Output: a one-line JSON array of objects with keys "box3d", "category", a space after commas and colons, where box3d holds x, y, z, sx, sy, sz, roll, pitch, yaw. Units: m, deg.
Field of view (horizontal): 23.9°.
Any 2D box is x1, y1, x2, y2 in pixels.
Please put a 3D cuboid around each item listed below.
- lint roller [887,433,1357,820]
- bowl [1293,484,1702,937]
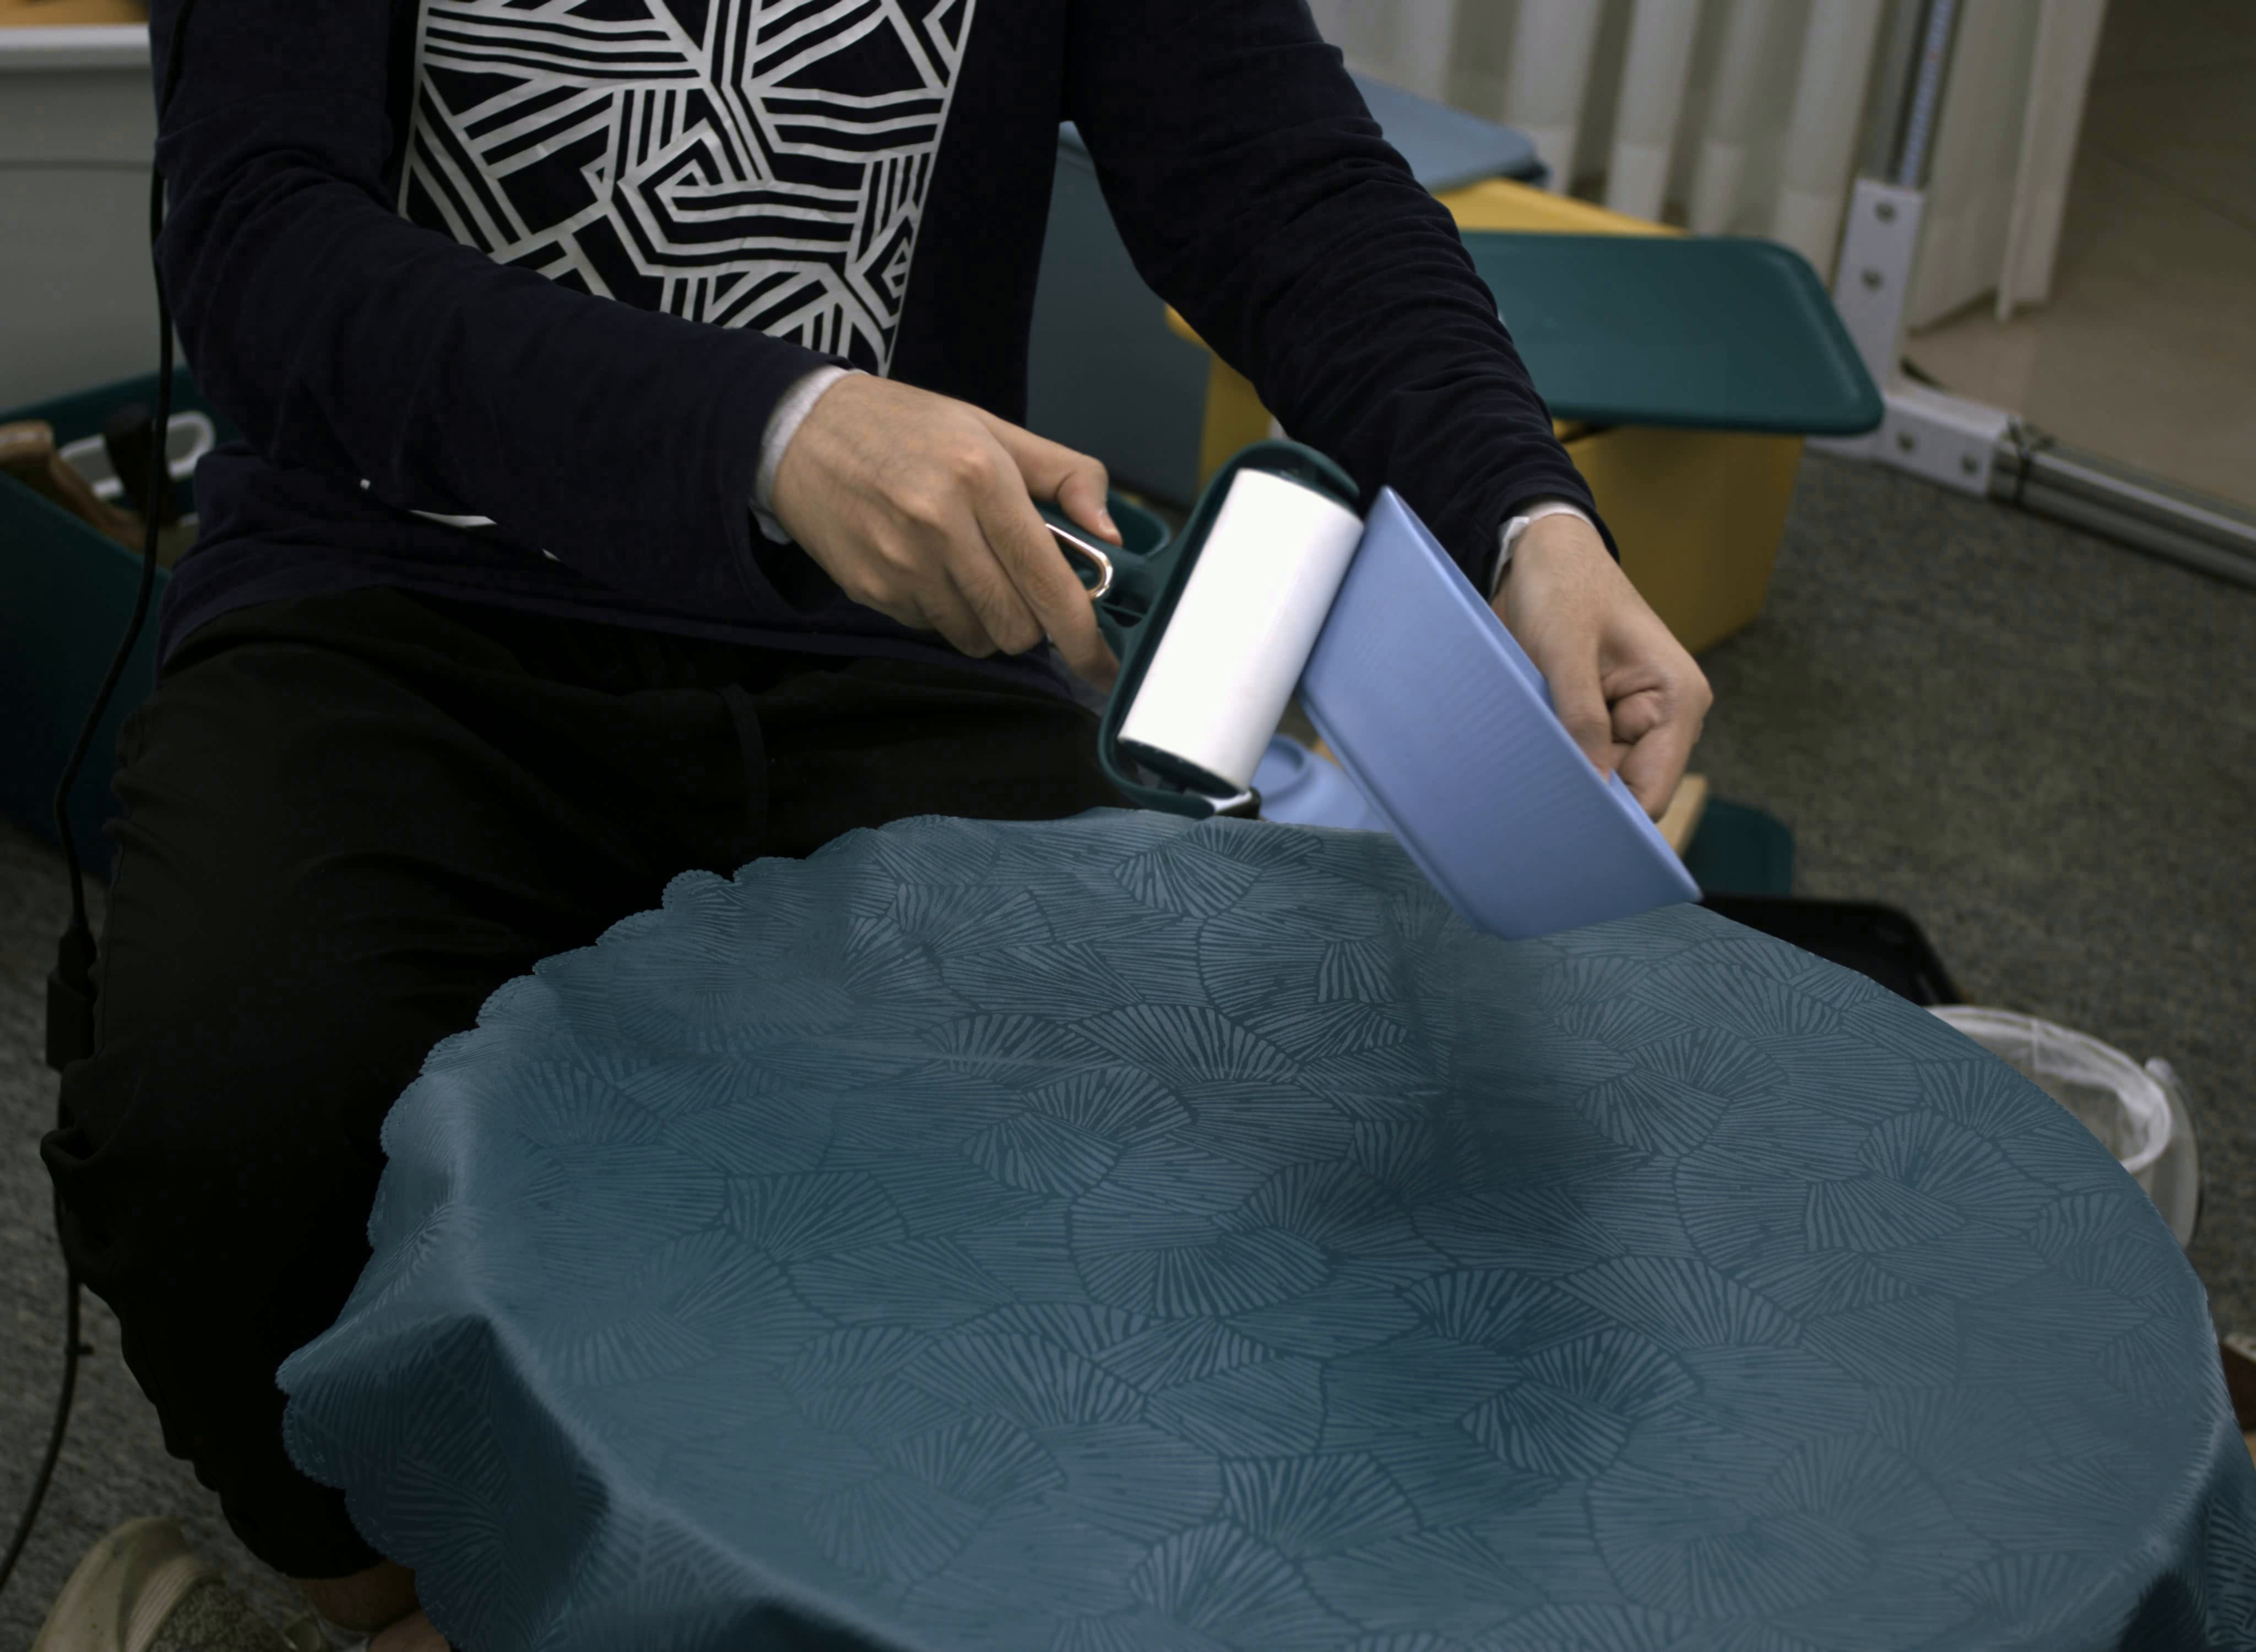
[{"box3d": [-0.018, -0.086, 1.803, 0.181, 0.134, 0.048, 20, -7, 30], "category": "lint roller"}, {"box3d": [0.115, -0.028, 1.802, 0.070, 0.174, 0.177, -37, 31, 6], "category": "bowl"}]
